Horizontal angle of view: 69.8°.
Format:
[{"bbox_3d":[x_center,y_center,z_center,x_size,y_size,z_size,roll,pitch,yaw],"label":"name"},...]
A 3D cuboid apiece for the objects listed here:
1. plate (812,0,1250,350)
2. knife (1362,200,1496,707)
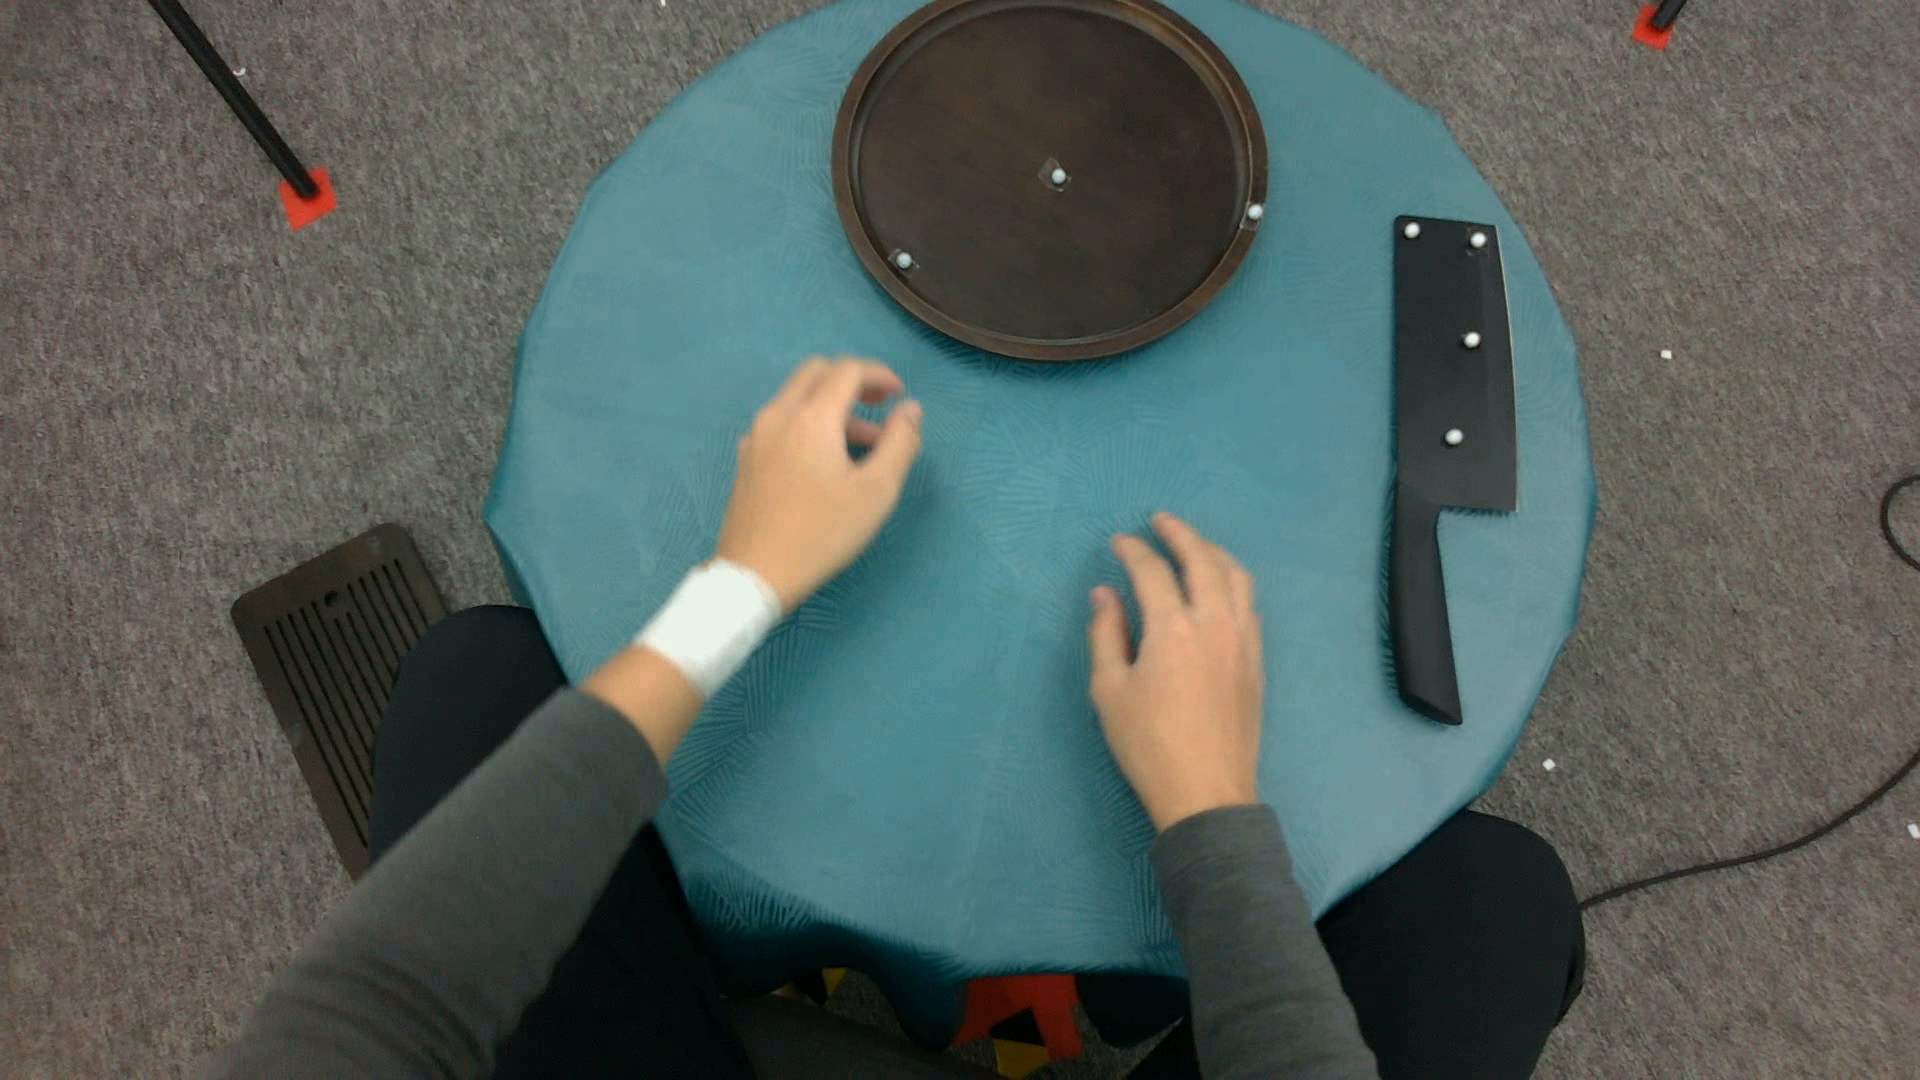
[{"bbox_3d":[0.040,-0.225,0.800,0.255,0.029,0.255,1,73,-3],"label":"plate"},{"bbox_3d":[0.258,-0.057,0.763,0.081,0.021,0.303,9,71,0],"label":"knife"}]
